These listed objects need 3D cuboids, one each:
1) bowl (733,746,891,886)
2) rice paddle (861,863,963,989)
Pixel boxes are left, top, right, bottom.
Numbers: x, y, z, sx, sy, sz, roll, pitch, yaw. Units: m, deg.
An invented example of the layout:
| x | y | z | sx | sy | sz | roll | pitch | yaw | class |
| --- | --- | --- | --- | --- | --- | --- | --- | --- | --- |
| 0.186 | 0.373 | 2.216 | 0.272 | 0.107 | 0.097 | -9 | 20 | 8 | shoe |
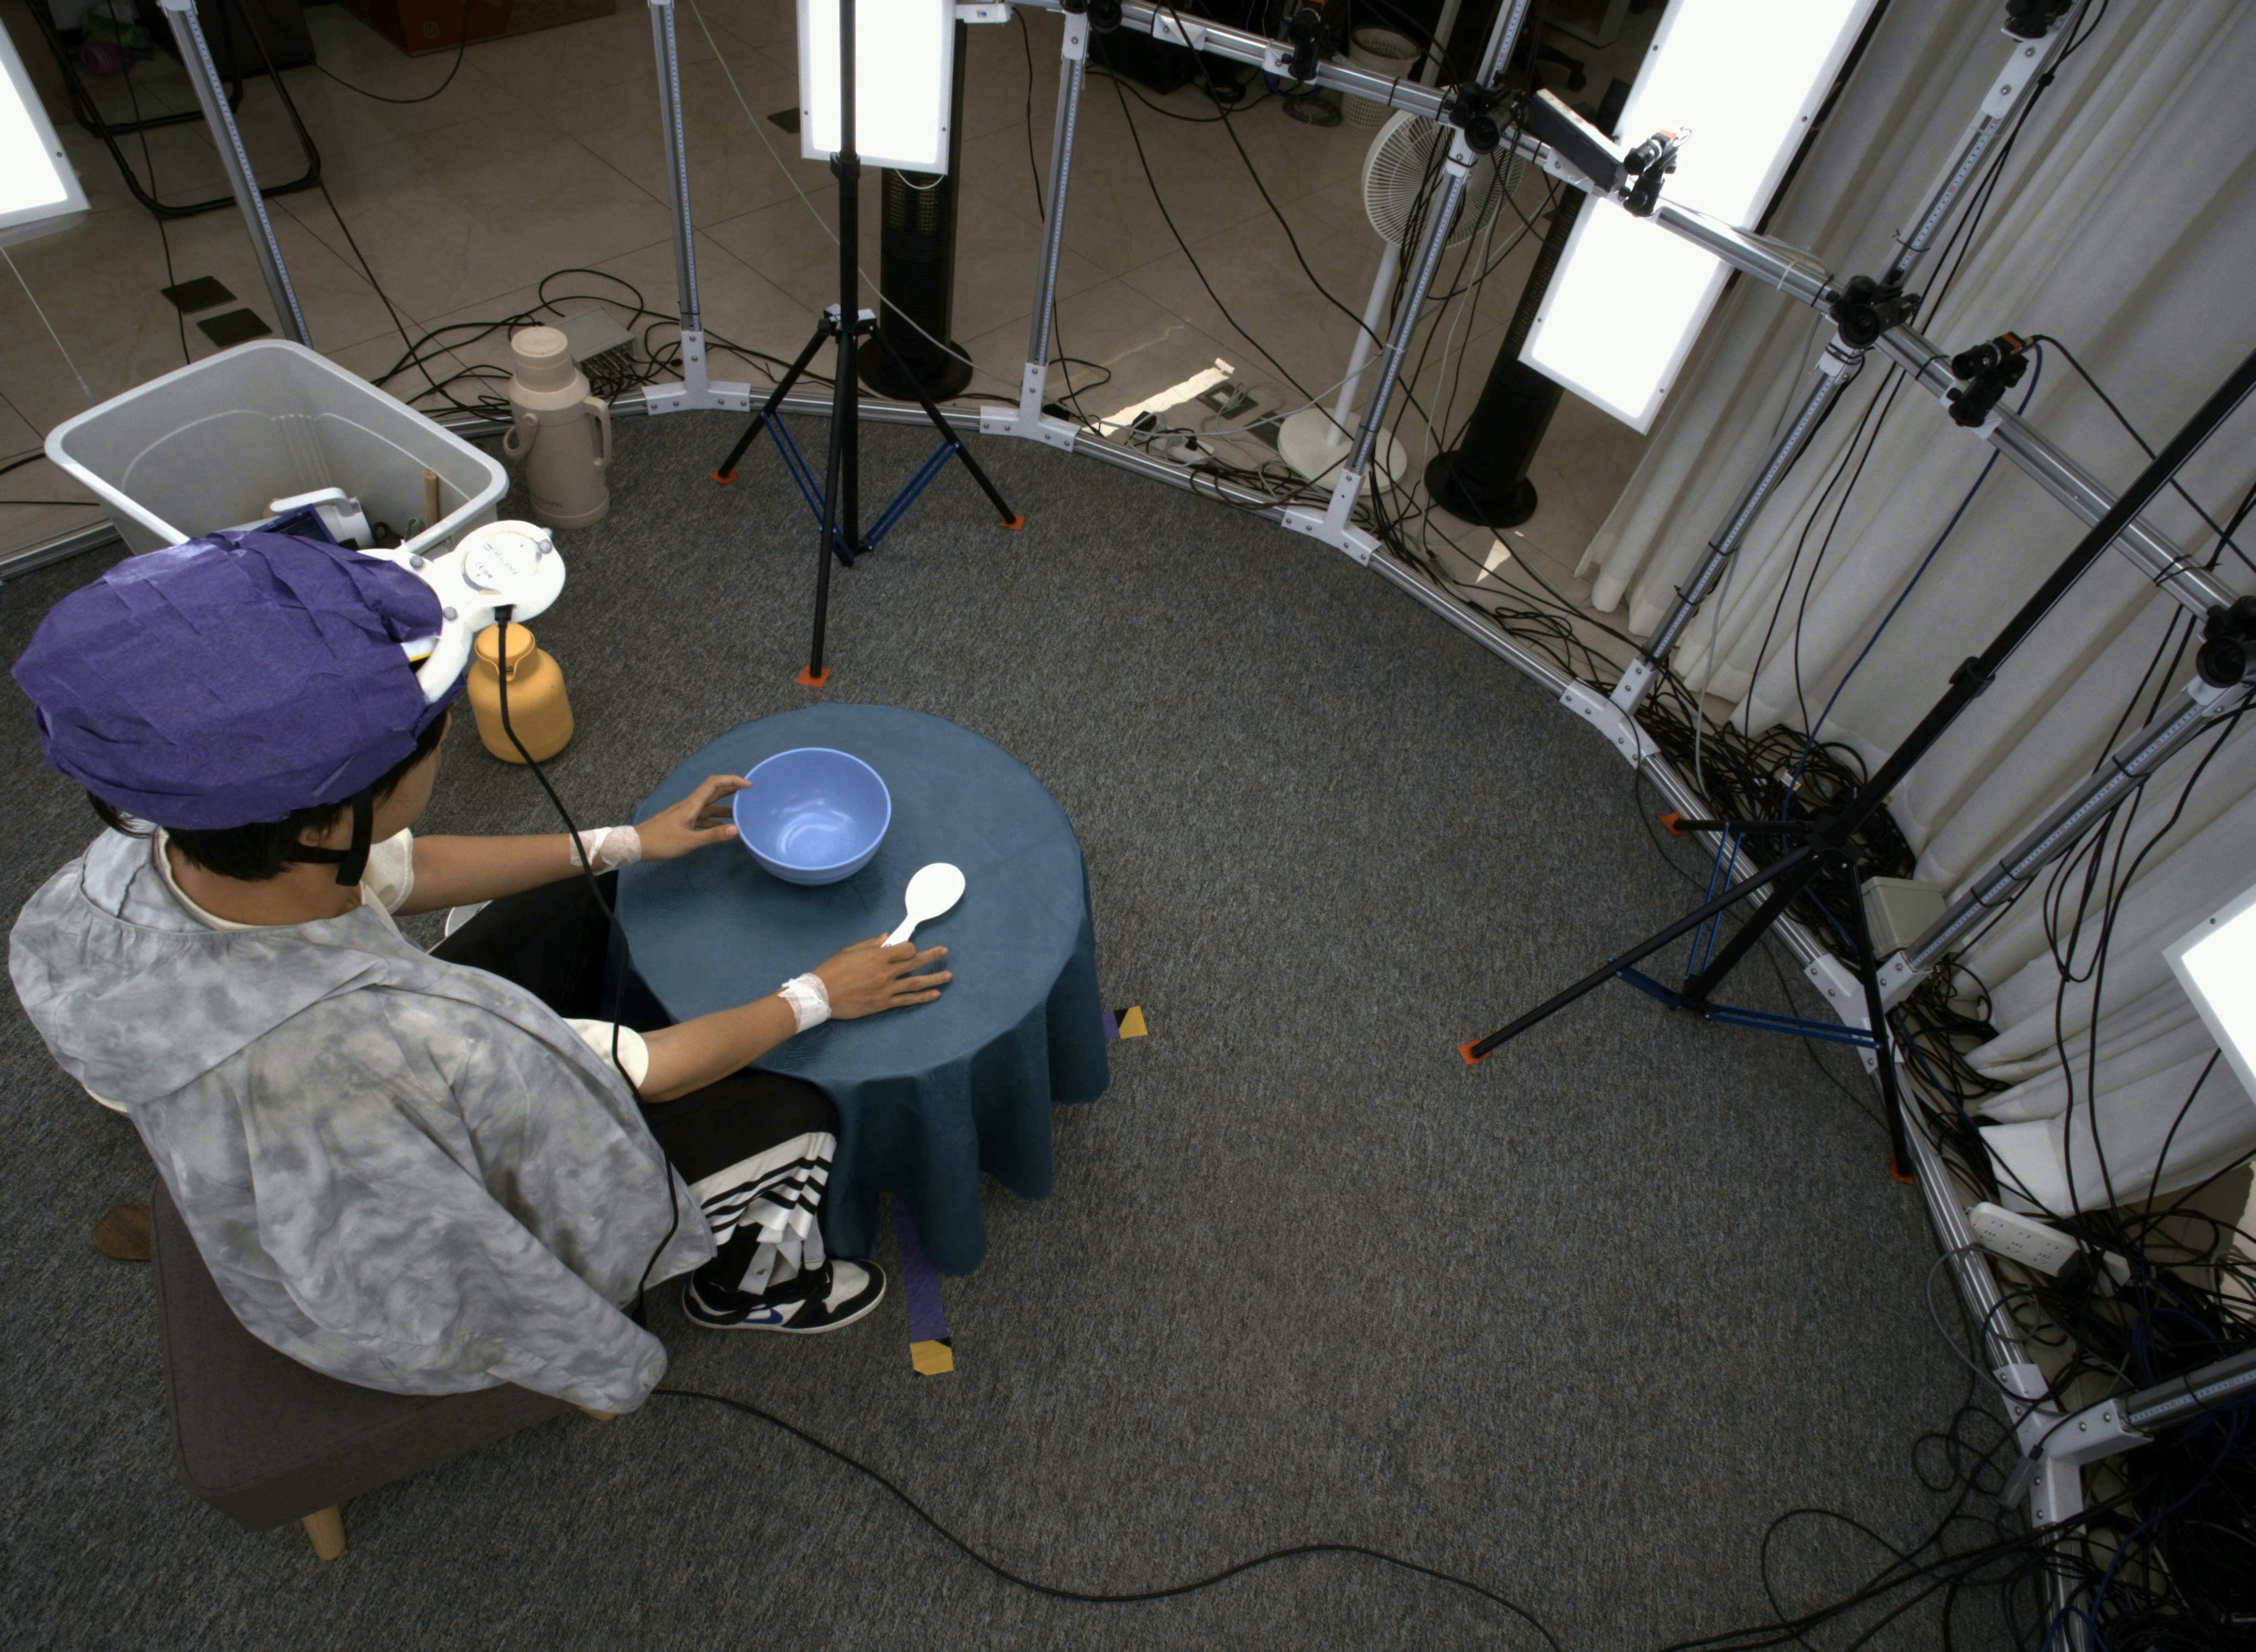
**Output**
| x | y | z | sx | sy | sz | roll | pitch | yaw | class |
| --- | --- | --- | --- | --- | --- | --- | --- | --- | --- |
| -0.404 | 0.002 | 1.667 | 0.196 | 0.097 | 0.193 | 8 | 51 | -9 | bowl |
| -0.275 | 0.118 | 1.655 | 0.067 | 0.030 | 0.204 | 24 | 52 | 9 | rice paddle |
